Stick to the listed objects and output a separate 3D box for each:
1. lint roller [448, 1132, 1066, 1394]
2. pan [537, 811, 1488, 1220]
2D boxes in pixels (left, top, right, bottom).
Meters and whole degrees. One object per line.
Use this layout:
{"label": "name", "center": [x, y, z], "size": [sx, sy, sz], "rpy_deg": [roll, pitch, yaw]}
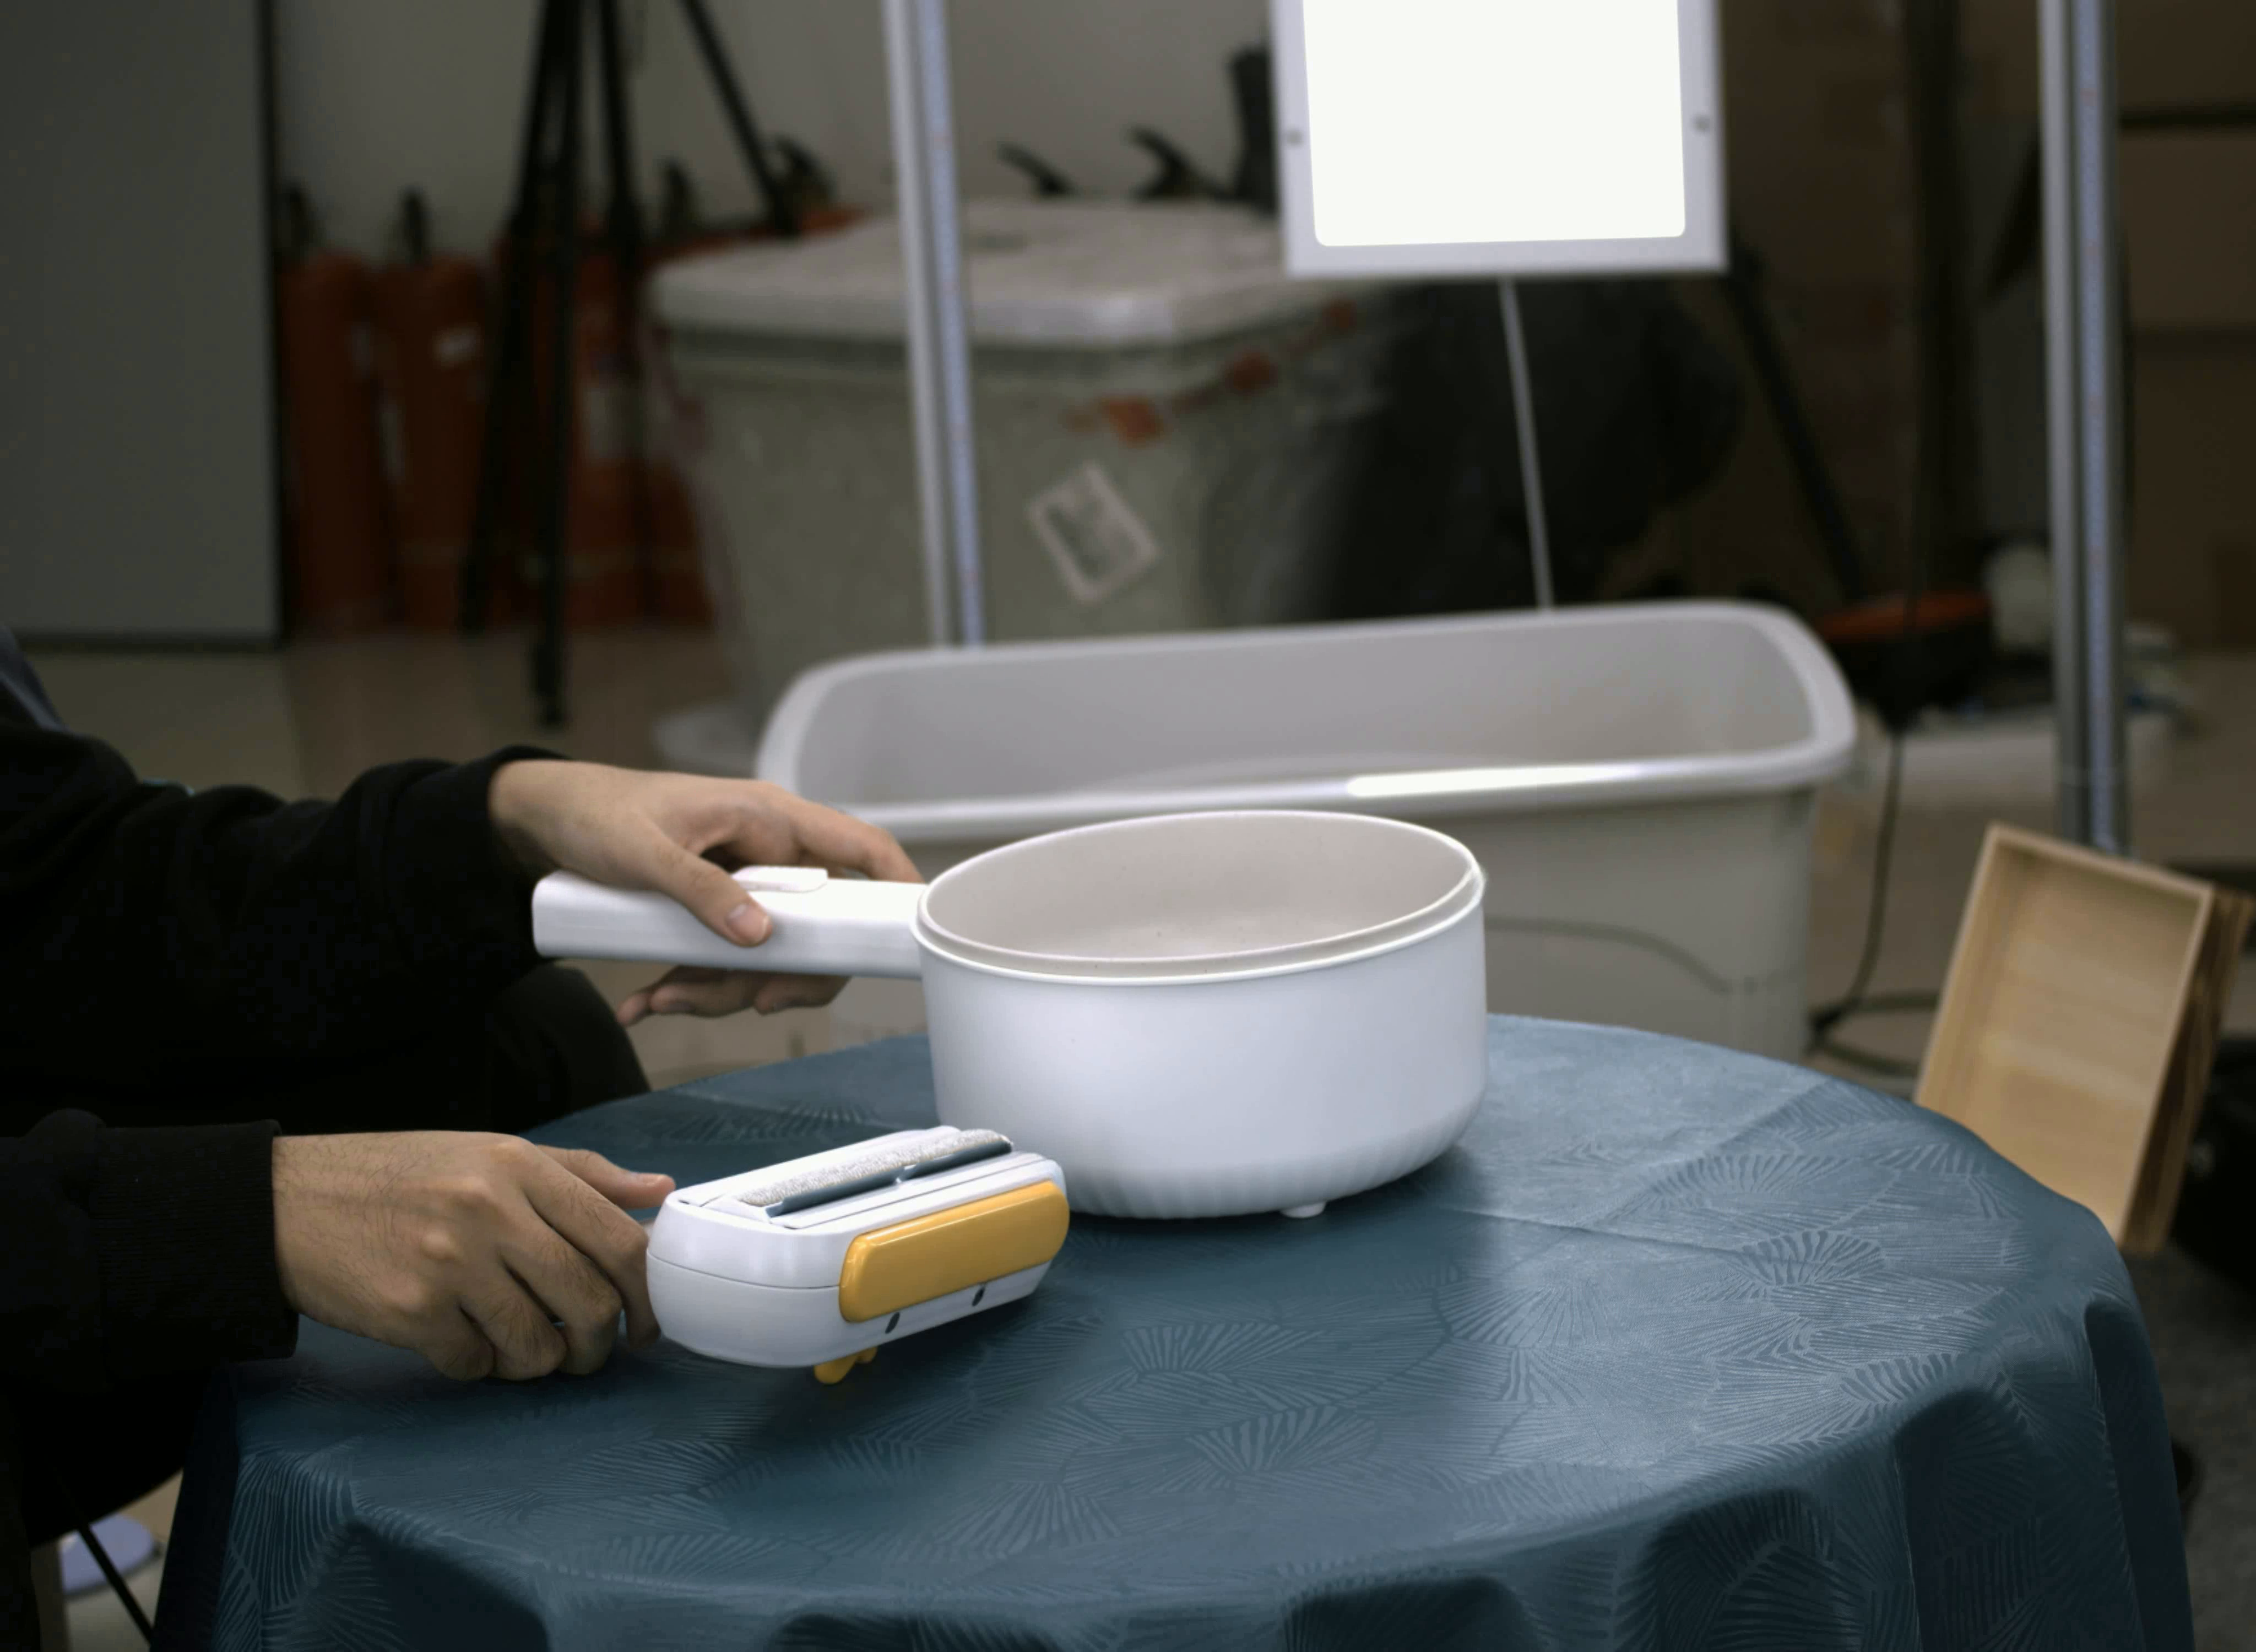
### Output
{"label": "lint roller", "center": [-0.137, 0.137, 1.759], "size": [0.196, 0.074, 0.188], "rpy_deg": [2, 10, 31]}
{"label": "pan", "center": [-0.043, 0.066, 1.943], "size": [0.360, 0.102, 0.197], "rpy_deg": [1, 15, 25]}
